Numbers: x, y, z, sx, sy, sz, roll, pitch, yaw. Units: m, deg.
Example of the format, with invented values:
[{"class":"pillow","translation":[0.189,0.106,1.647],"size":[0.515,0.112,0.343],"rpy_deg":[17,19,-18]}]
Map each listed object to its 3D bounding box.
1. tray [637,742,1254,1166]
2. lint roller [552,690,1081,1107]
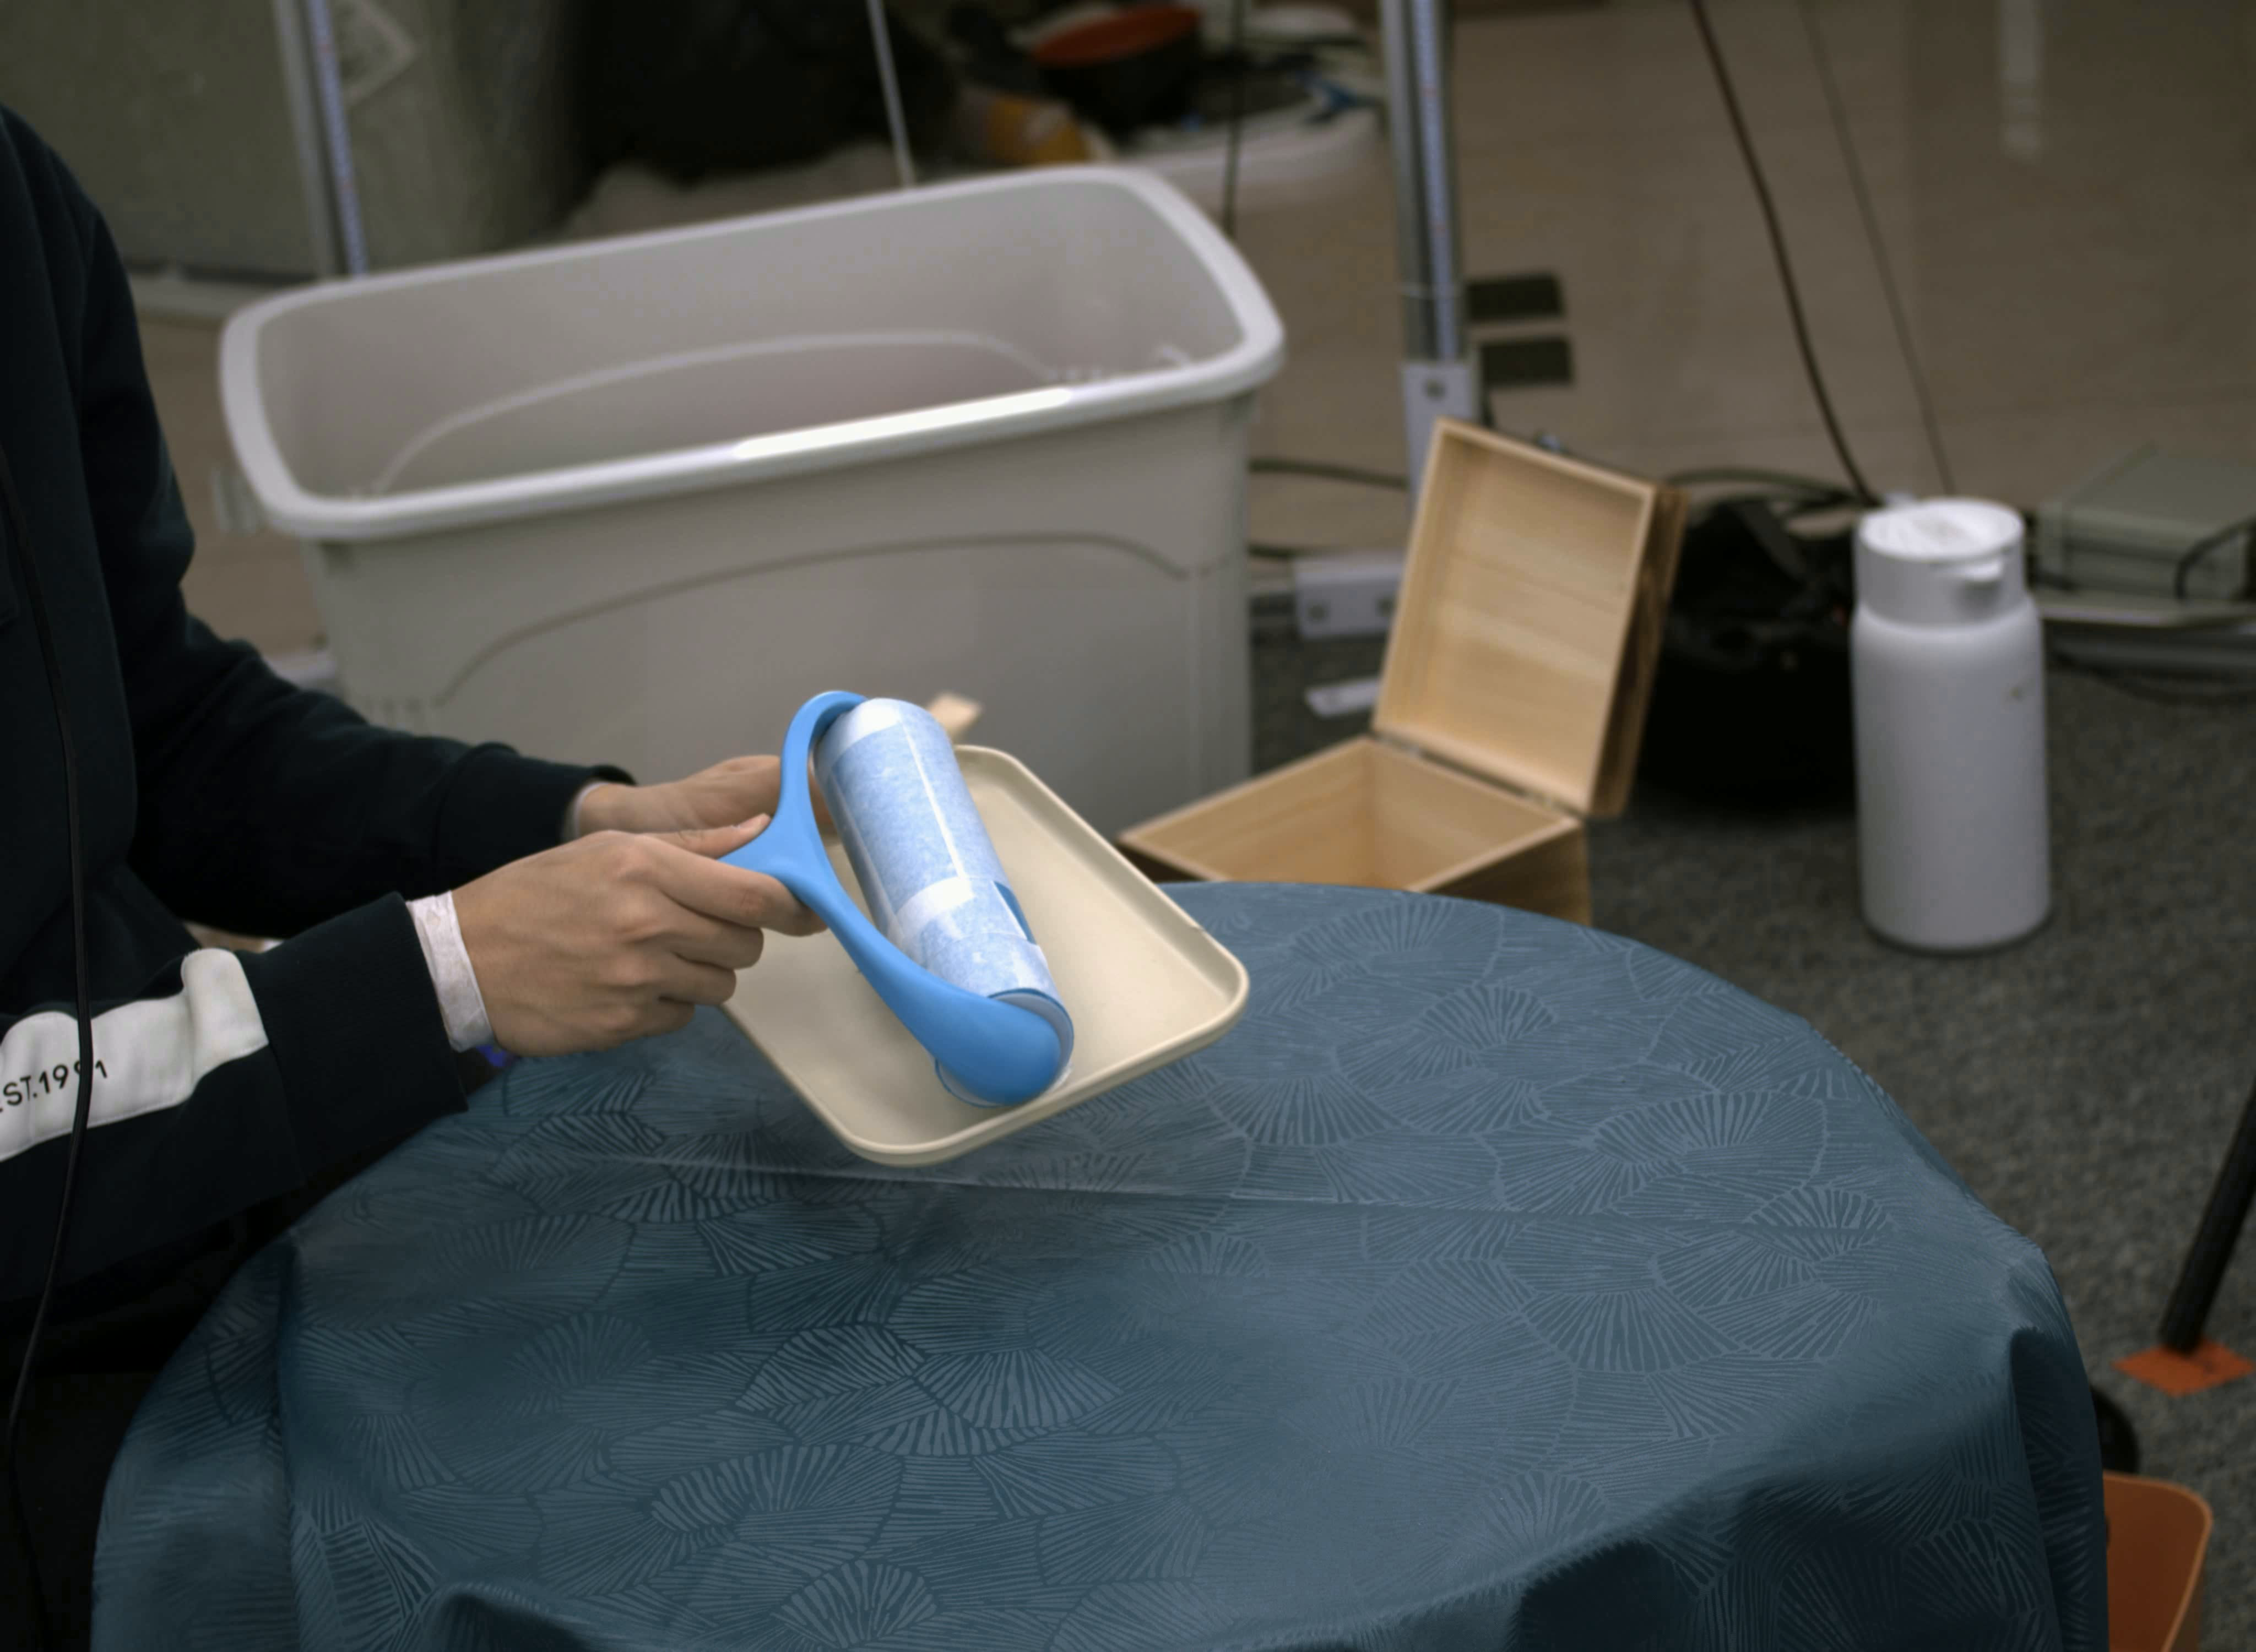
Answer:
[{"class":"tray","translation":[-0.071,0.048,2.165],"size":[0.170,0.018,0.236],"rpy_deg":[-23,37,-19]},{"class":"lint roller","translation":[-0.126,0.035,2.112],"size":[0.180,0.069,0.225],"rpy_deg":[-9,40,-16]}]
